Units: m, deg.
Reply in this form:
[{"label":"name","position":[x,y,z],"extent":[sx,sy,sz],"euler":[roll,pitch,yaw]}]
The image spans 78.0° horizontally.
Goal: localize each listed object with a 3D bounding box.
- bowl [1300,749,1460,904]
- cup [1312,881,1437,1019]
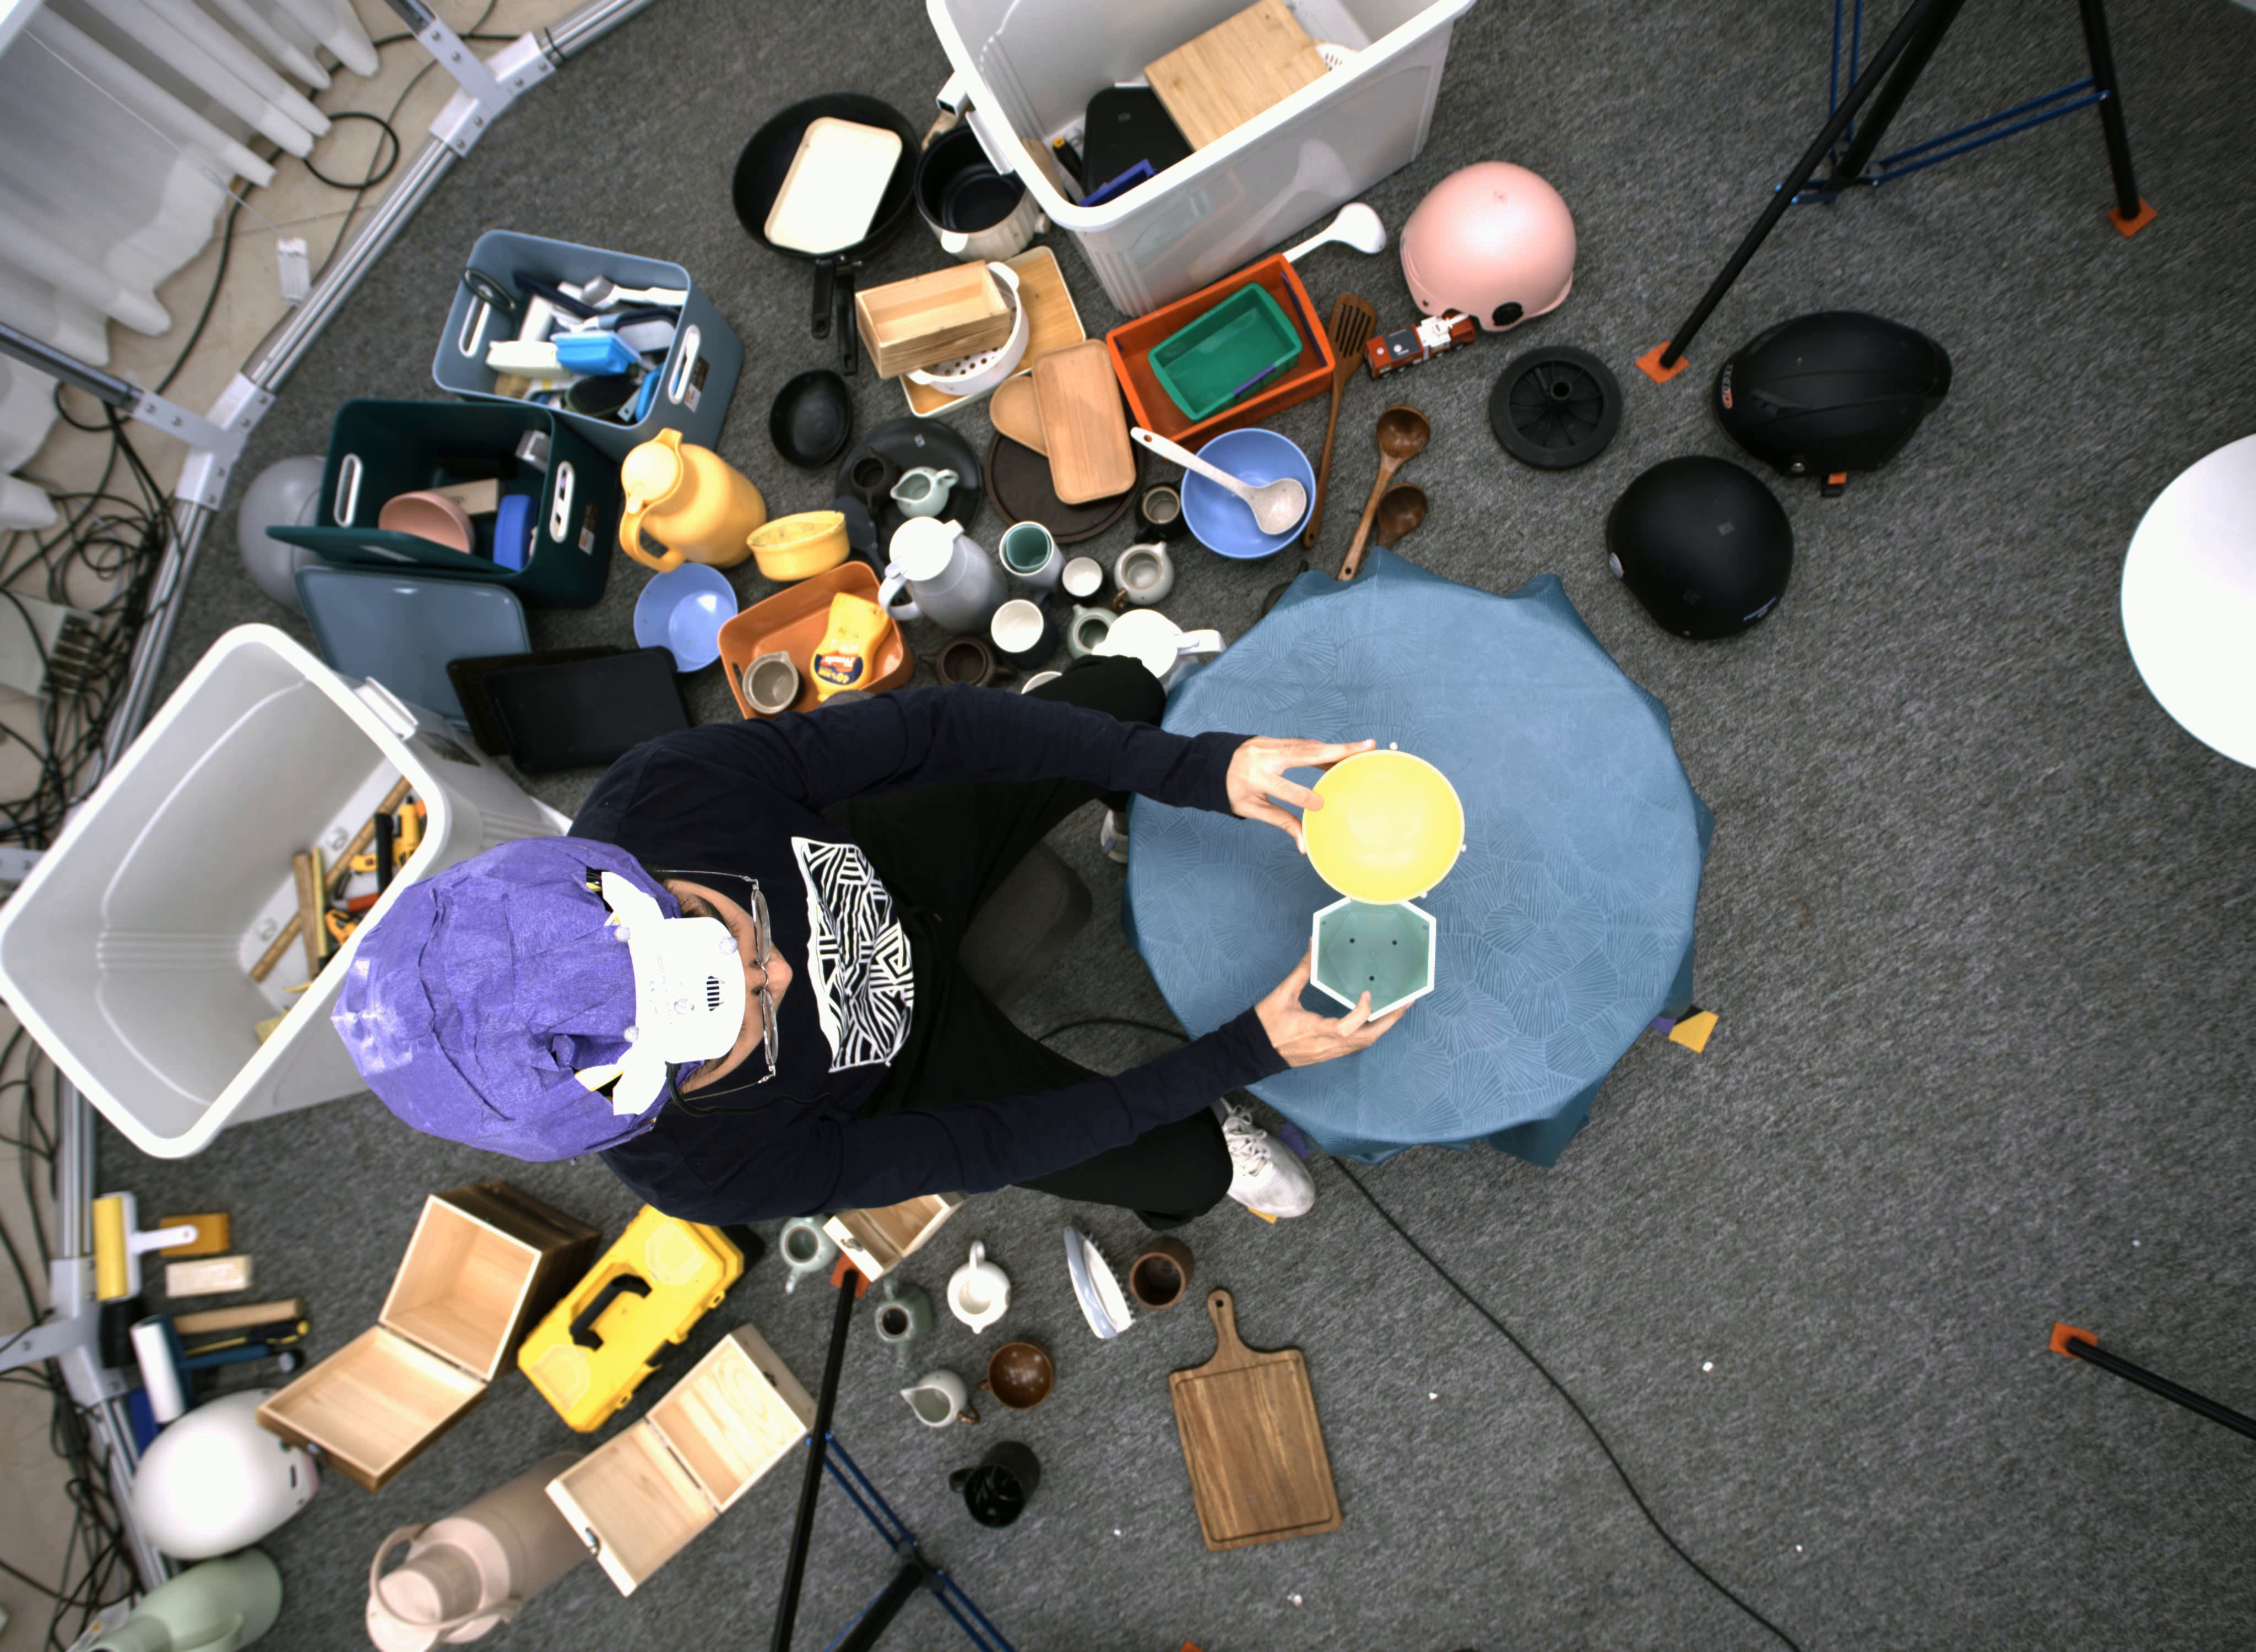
[{"label":"bowl","position":[0.234,-0.006,1.277],"extent":[0.146,0.059,0.147],"euler":[3,107,11]},{"label":"cup","position":[0.245,0.123,1.376],"extent":[0.115,0.163,0.130],"euler":[2,85,10]}]
